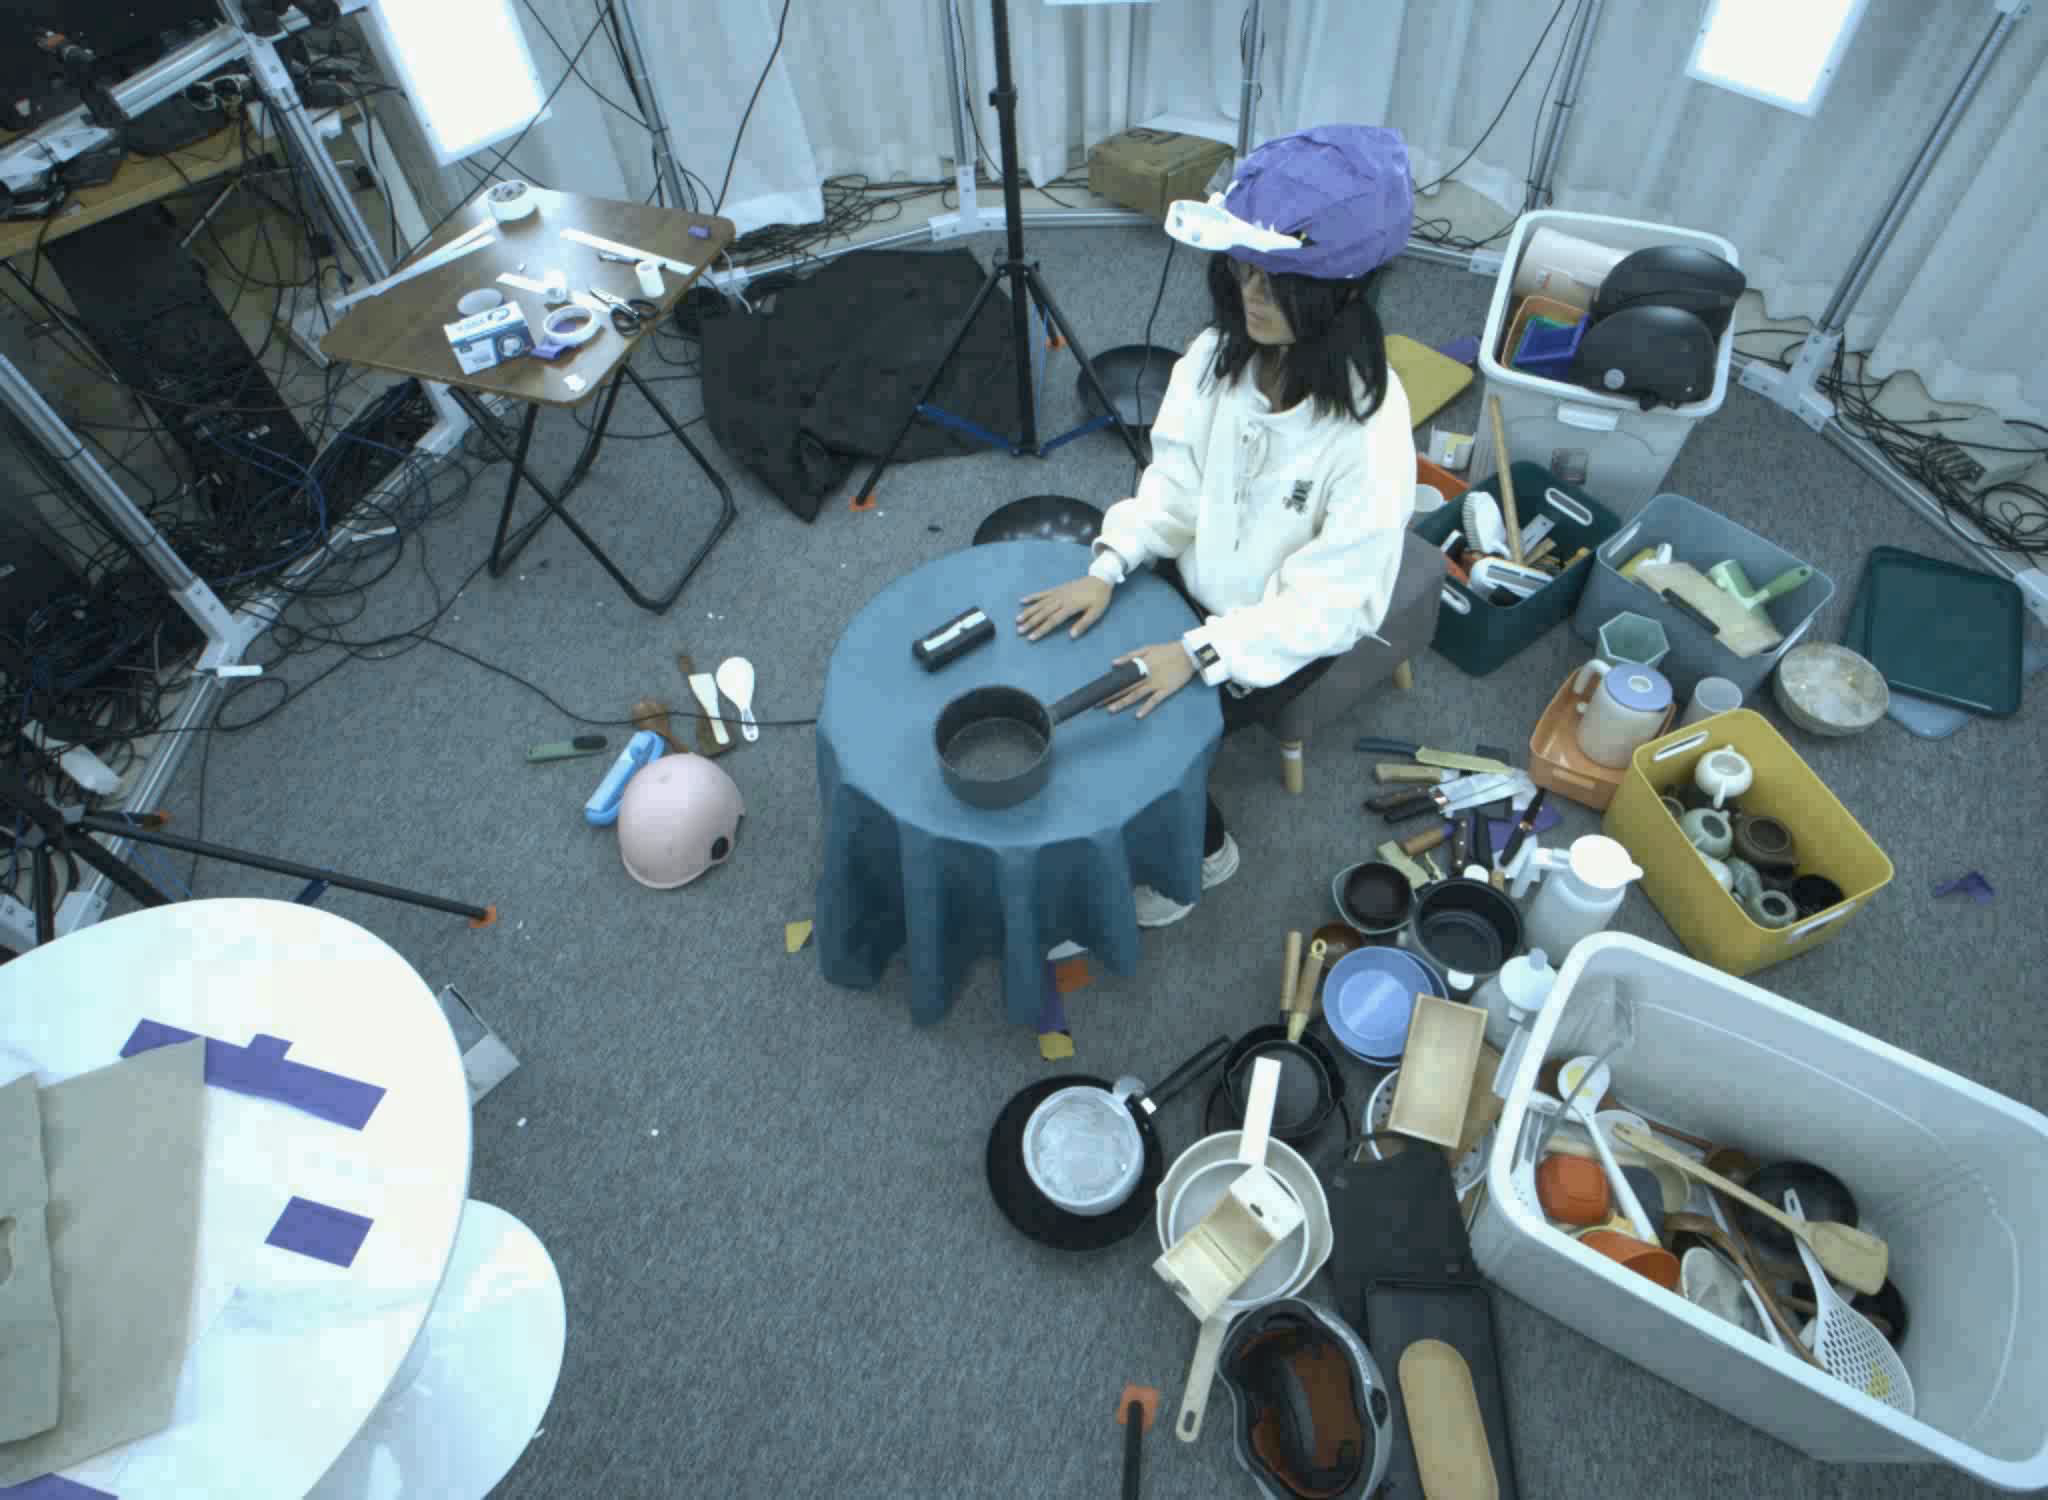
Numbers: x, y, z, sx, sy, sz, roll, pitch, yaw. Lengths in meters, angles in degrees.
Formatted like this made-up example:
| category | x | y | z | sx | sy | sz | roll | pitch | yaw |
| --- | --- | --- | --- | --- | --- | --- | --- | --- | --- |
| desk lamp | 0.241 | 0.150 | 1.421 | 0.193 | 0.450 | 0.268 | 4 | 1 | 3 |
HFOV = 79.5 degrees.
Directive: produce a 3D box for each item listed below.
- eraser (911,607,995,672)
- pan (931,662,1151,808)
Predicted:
| category | x | y | z | sx | sy | sz | roll | pitch | yaw |
| --- | --- | --- | --- | --- | --- | --- | --- | --- | --- |
| eraser | -0.110 | -0.171 | 1.896 | 0.126 | 0.031 | 0.052 | -31 | 60 | -20 |
| pan | 0.030 | -0.035 | 1.760 | 0.331 | 0.087 | 0.169 | -22 | 57 | -11 |
